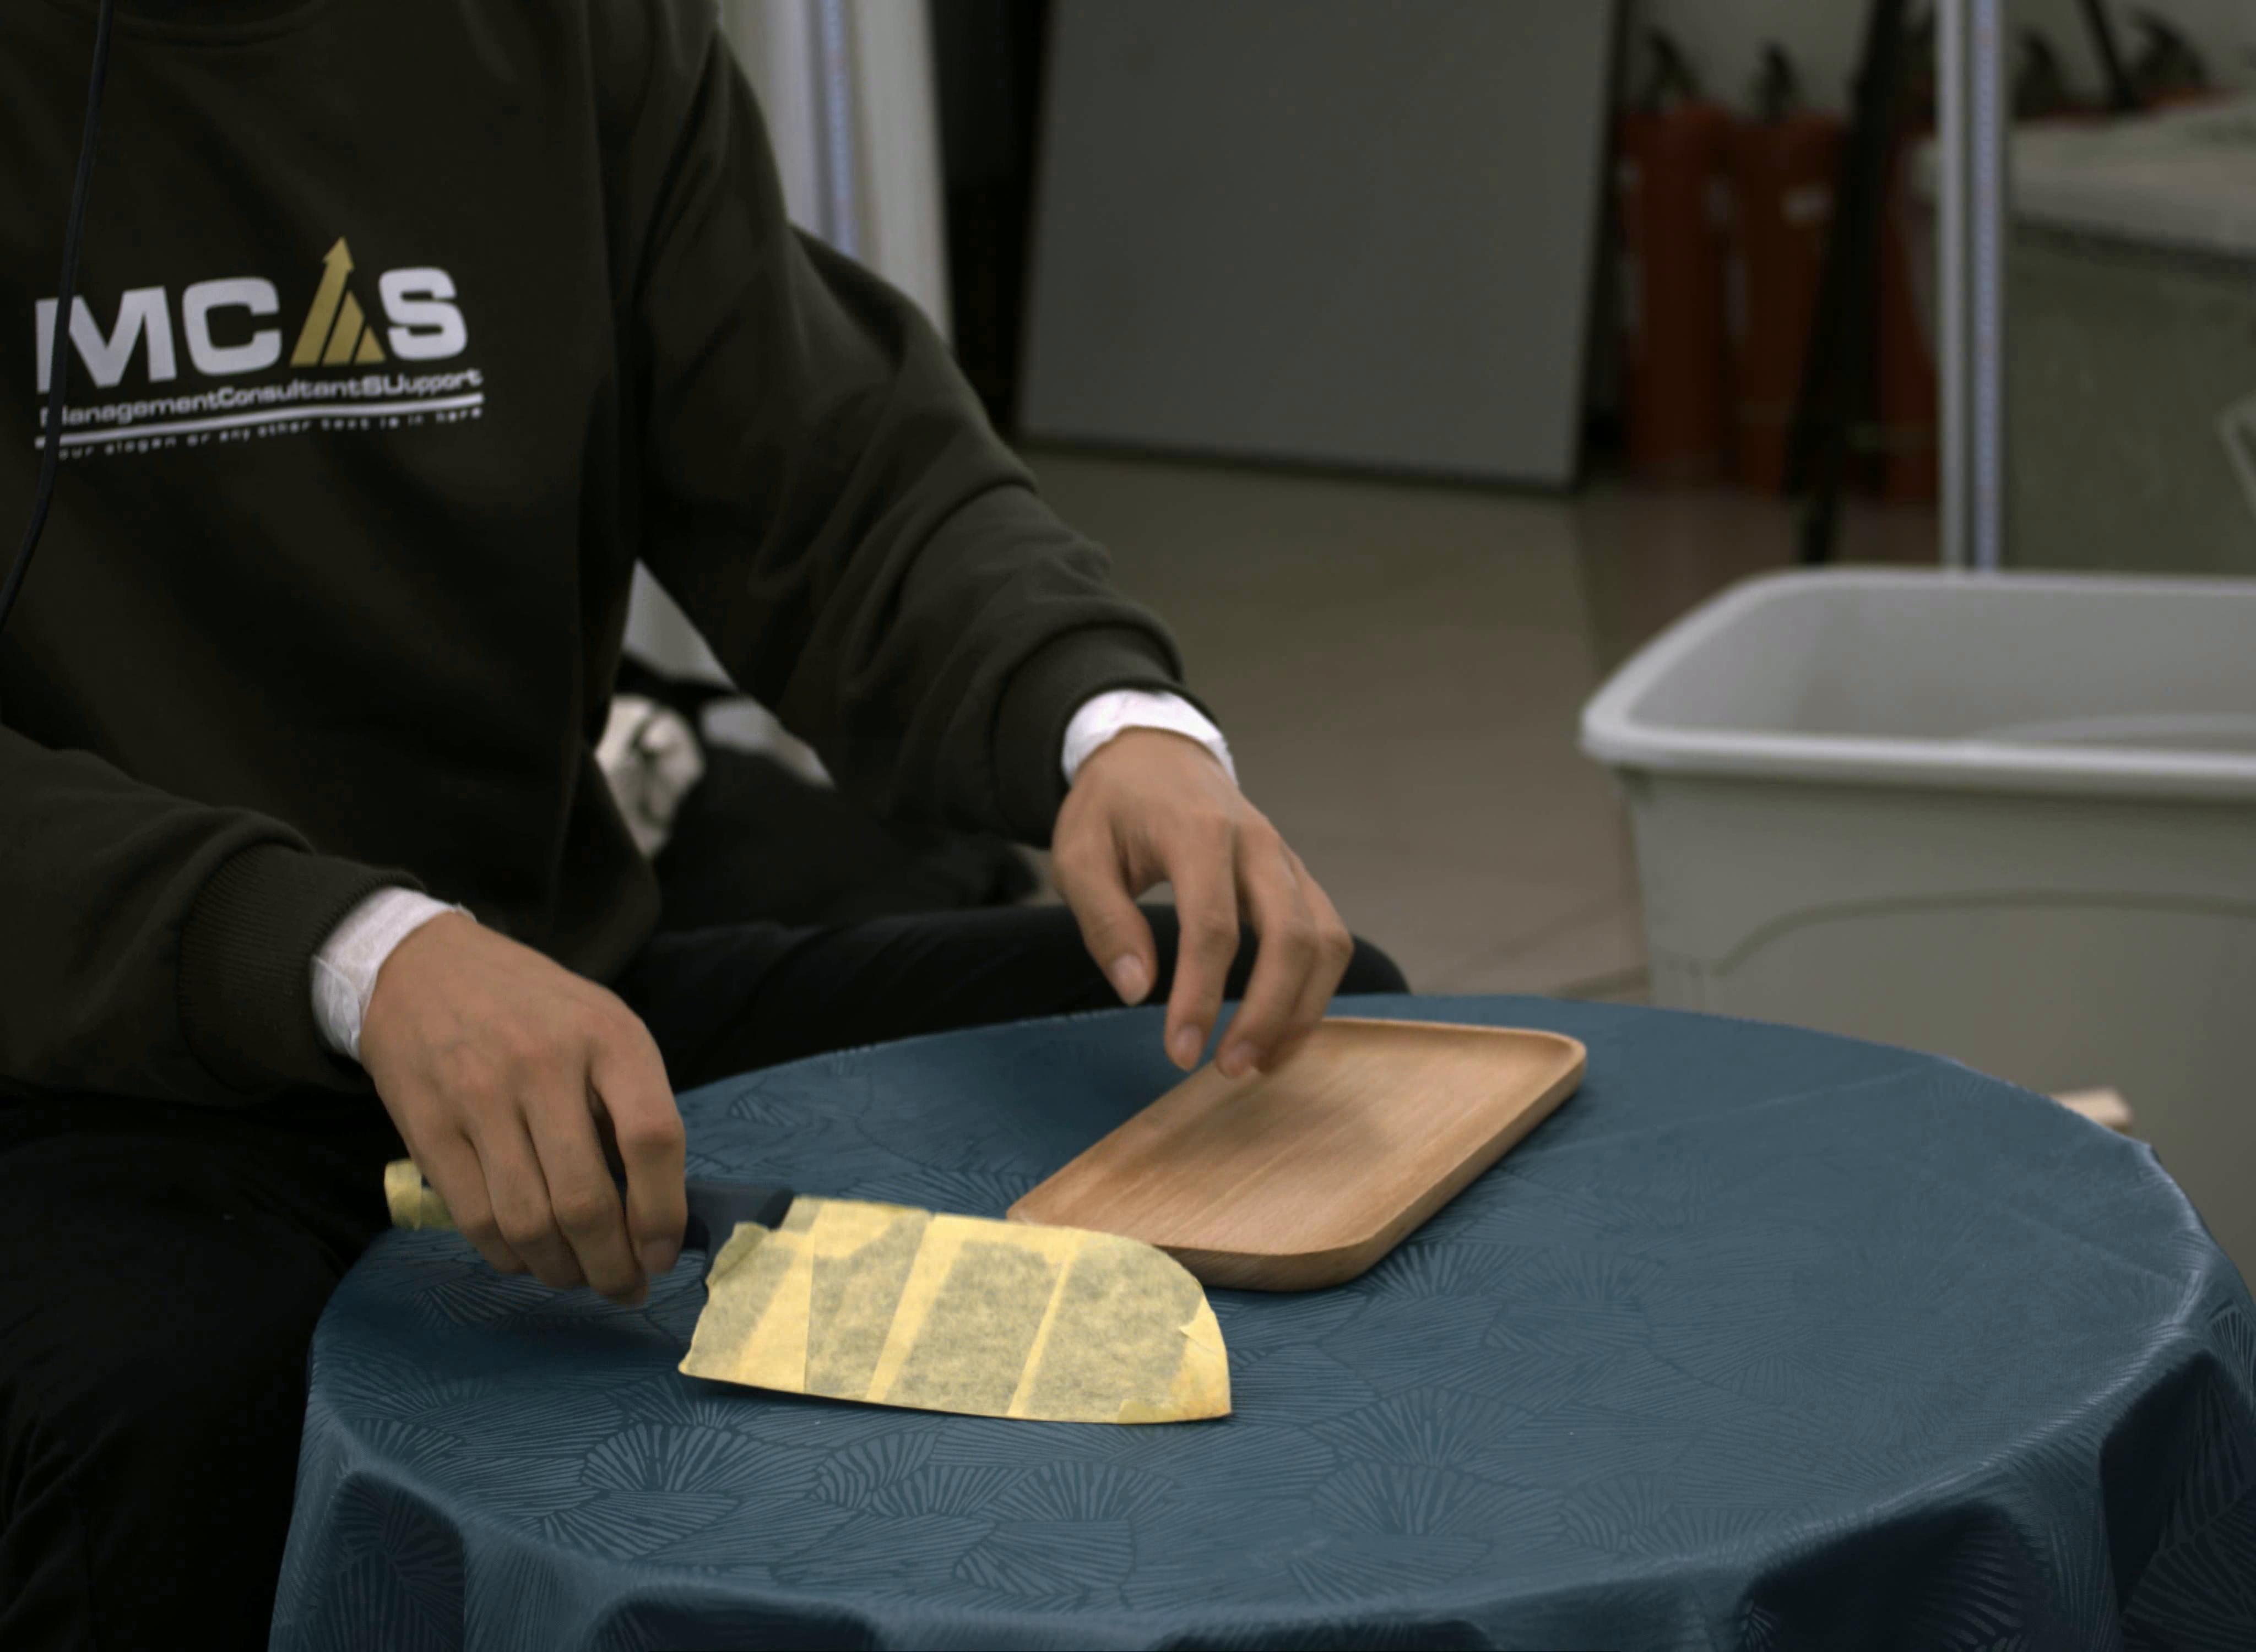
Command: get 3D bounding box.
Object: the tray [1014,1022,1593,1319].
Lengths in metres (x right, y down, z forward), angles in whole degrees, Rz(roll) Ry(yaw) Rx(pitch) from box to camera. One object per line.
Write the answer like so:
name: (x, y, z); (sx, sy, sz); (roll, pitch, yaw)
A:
tray: (0.062, 0.111, 1.780); (0.131, 0.023, 0.248); (-1, 16, 26)

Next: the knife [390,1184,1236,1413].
knife: (-0.100, 0.142, 1.623); (0.290, 0.027, 0.081); (5, 44, 24)
